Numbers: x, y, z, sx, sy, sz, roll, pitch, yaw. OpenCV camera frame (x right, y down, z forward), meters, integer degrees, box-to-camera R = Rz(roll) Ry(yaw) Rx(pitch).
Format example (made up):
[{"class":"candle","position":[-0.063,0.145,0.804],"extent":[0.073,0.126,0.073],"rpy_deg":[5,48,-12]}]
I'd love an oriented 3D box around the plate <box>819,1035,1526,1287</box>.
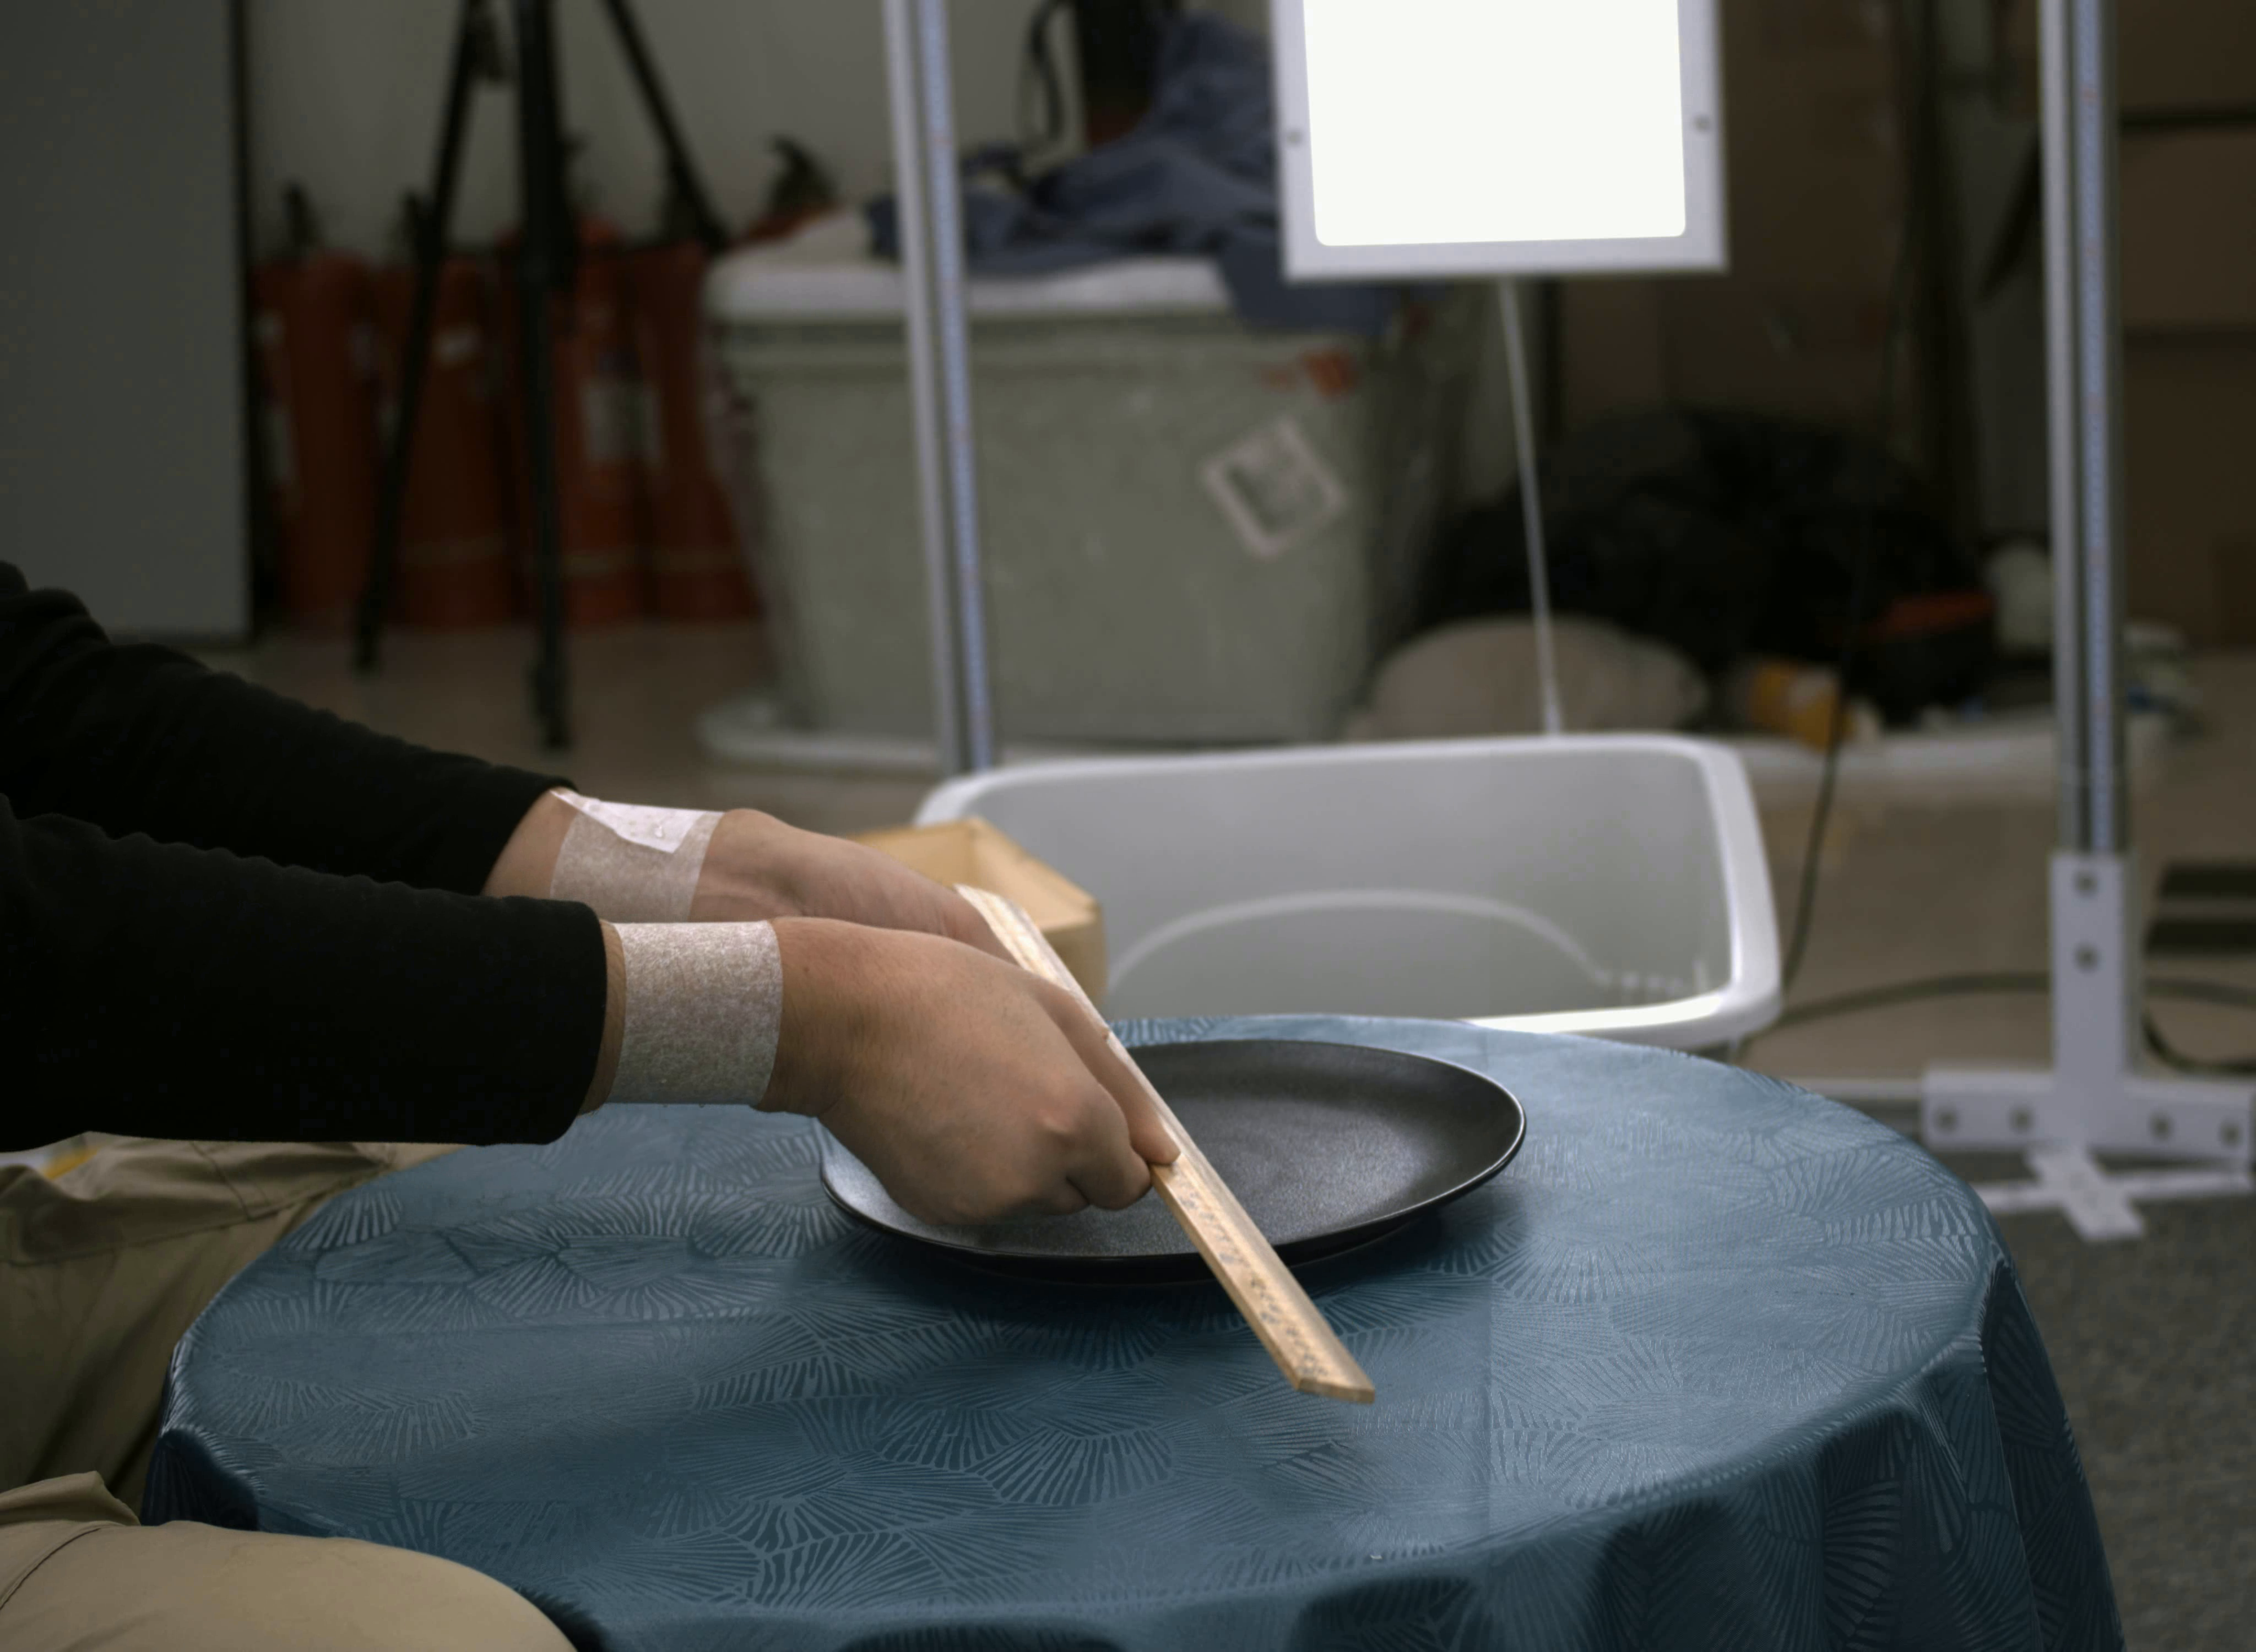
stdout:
[{"class":"plate","position":[0.016,0.117,1.882],"extent":[0.244,0.023,0.244],"rpy_deg":[-6,14,0]}]

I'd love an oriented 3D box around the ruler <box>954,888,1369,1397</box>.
[{"class":"ruler","position":[0.002,0.094,1.825],"extent":[0.026,0.006,0.504],"rpy_deg":[10,13,-16]}]
